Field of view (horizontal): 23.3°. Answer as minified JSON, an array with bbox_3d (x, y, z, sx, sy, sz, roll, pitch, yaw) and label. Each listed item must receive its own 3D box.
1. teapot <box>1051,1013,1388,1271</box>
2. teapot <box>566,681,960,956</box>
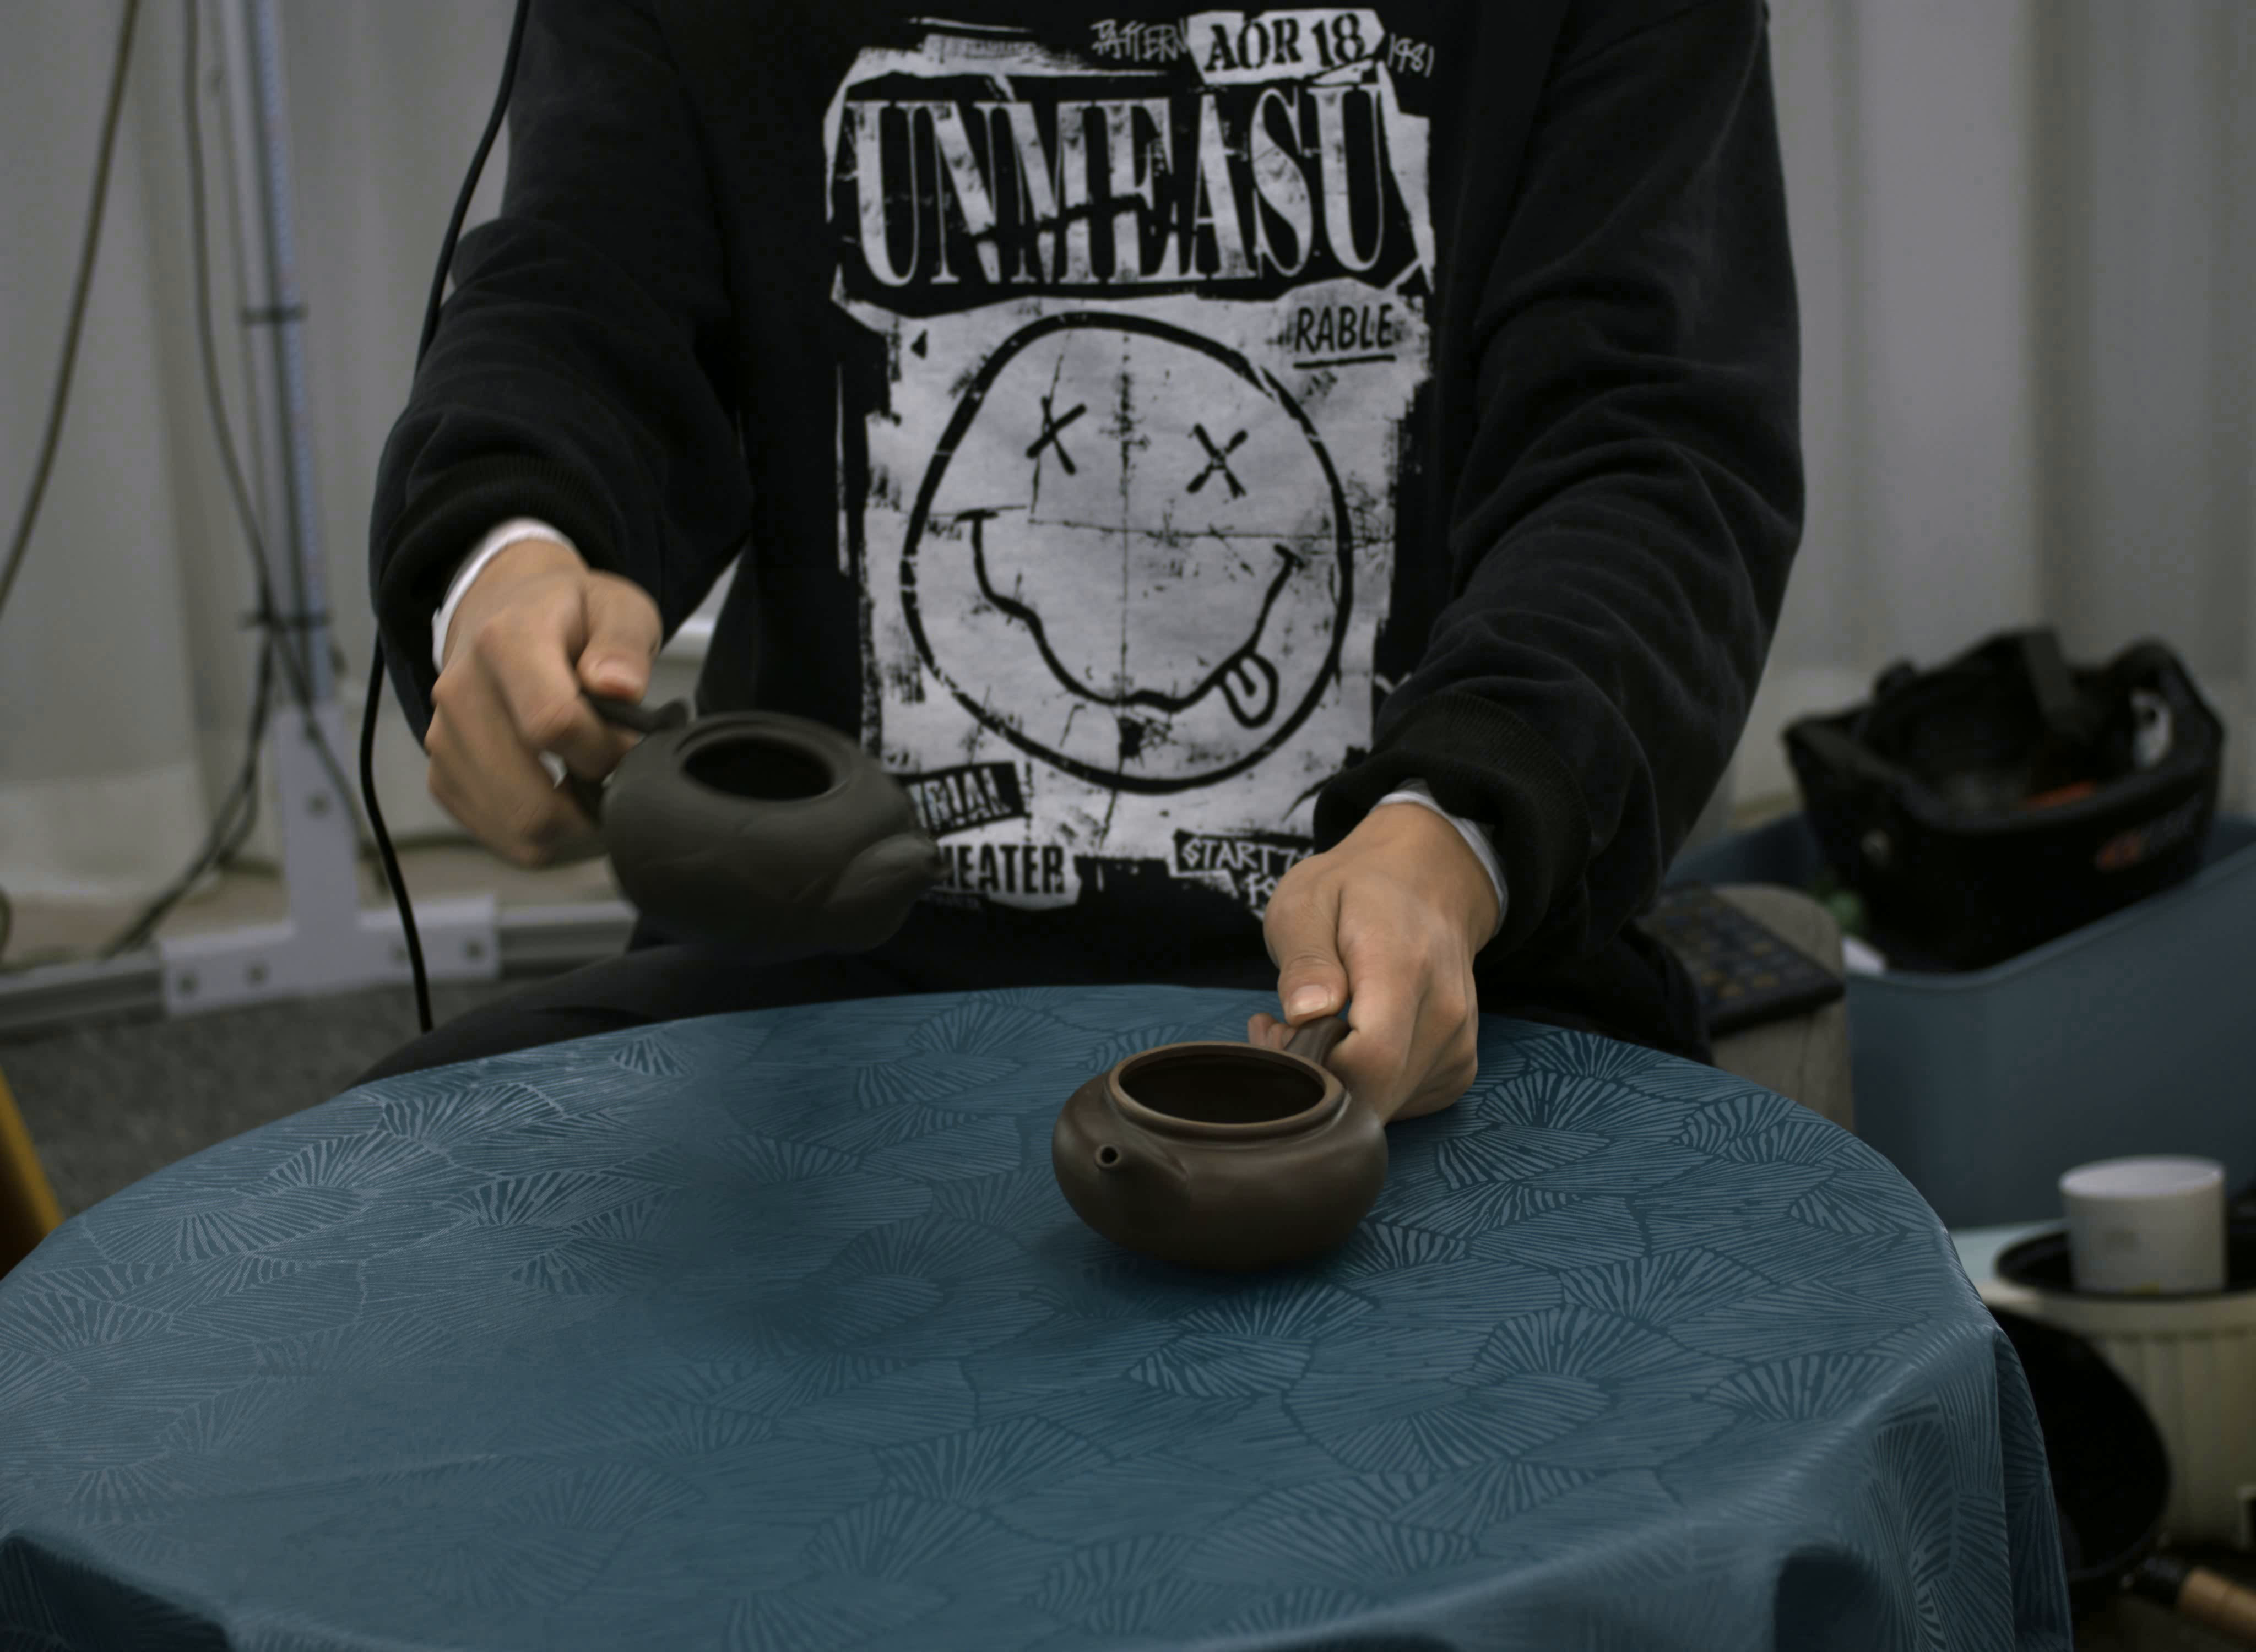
[{"bbox_3d":[0.030,0.096,1.660,0.103,0.053,0.154,13,23,22],"label":"teapot"},{"bbox_3d":[-0.114,-0.001,1.660,0.155,0.064,0.092,26,30,30],"label":"teapot"}]
